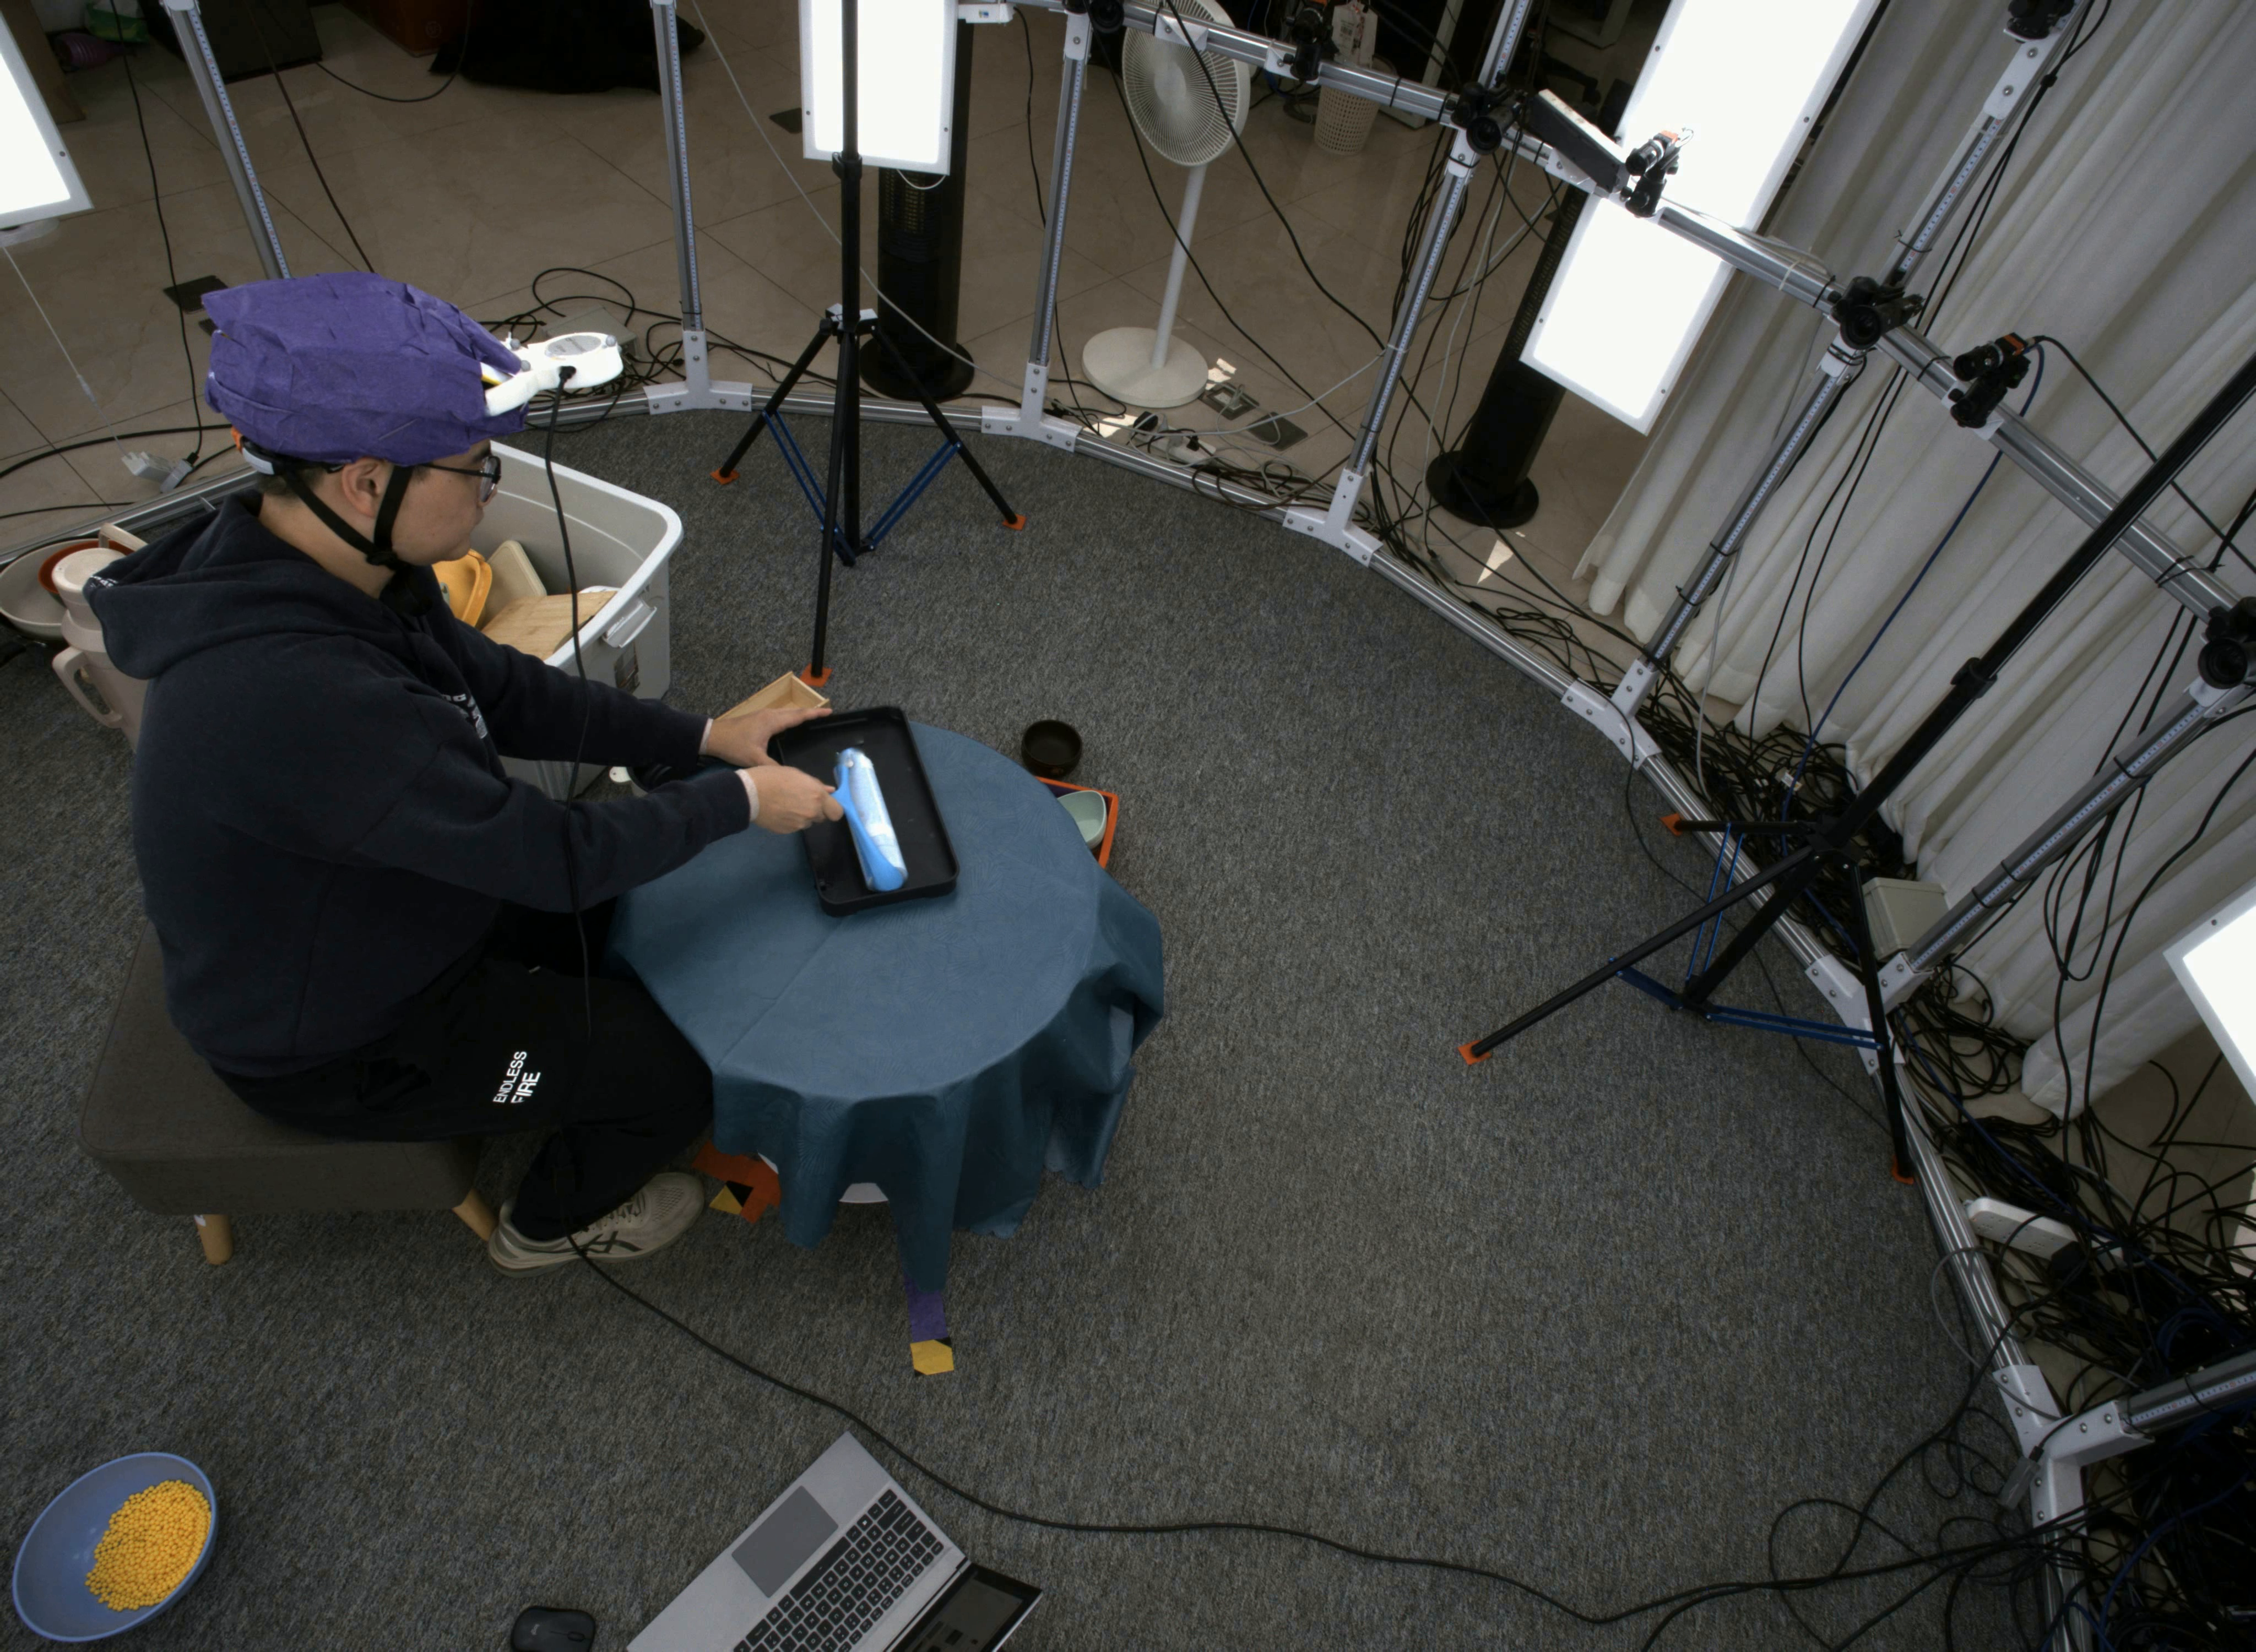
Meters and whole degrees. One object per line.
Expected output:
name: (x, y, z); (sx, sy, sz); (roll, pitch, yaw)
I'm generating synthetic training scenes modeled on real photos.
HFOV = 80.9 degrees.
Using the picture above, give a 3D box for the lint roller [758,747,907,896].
lint roller: (-0.379, -0.017, 1.661); (0.185, 0.067, 0.223); (14, 44, -48)

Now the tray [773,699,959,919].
tray: (-0.354, -0.029, 1.740); (0.185, 0.038, 0.310); (-12, 60, -21)
